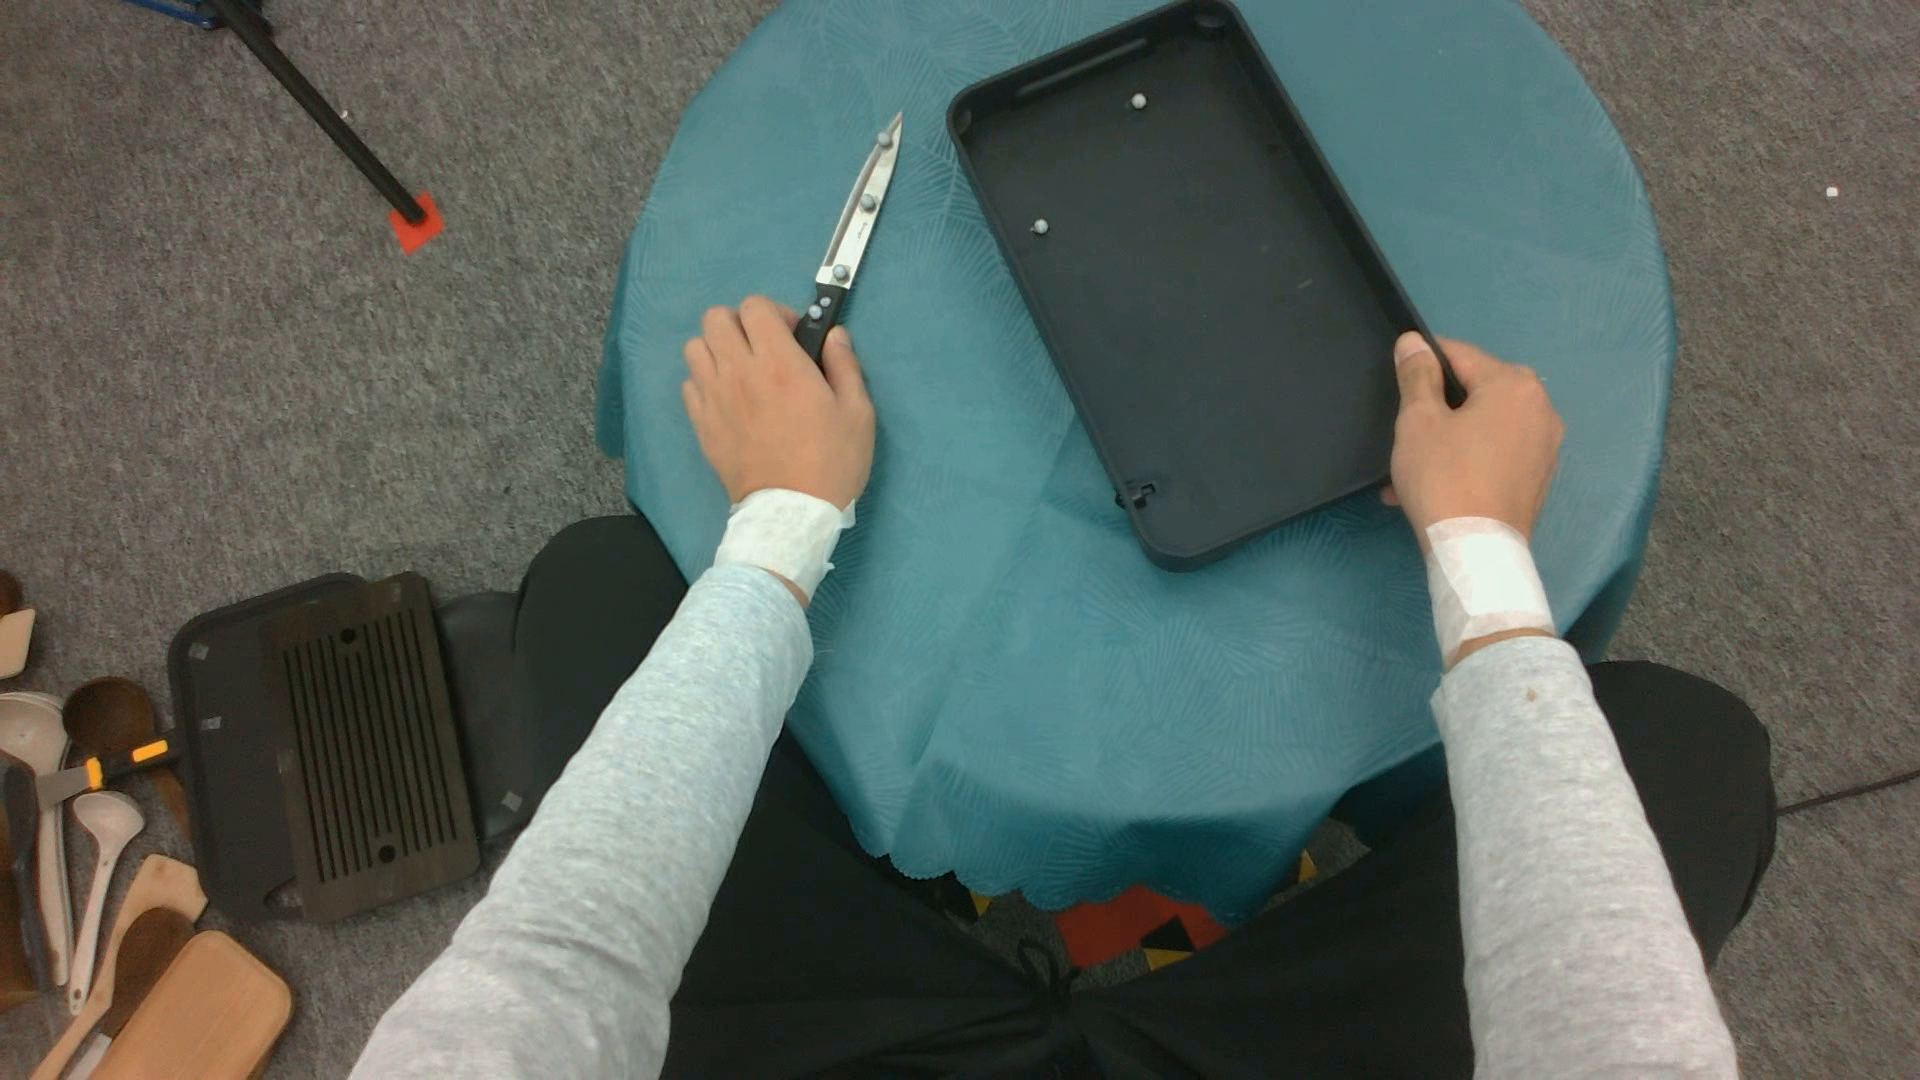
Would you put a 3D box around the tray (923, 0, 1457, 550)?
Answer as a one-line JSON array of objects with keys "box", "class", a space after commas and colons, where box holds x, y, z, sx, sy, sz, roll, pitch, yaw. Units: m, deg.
[{"box": [0.119, -0.162, 0.769, 0.184, 0.037, 0.318, -24, 70, -2], "class": "tray"}]

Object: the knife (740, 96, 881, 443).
[{"box": [-0.081, -0.163, 0.807, 0.024, 0.016, 0.239, 13, 72, 13], "class": "knife"}]
